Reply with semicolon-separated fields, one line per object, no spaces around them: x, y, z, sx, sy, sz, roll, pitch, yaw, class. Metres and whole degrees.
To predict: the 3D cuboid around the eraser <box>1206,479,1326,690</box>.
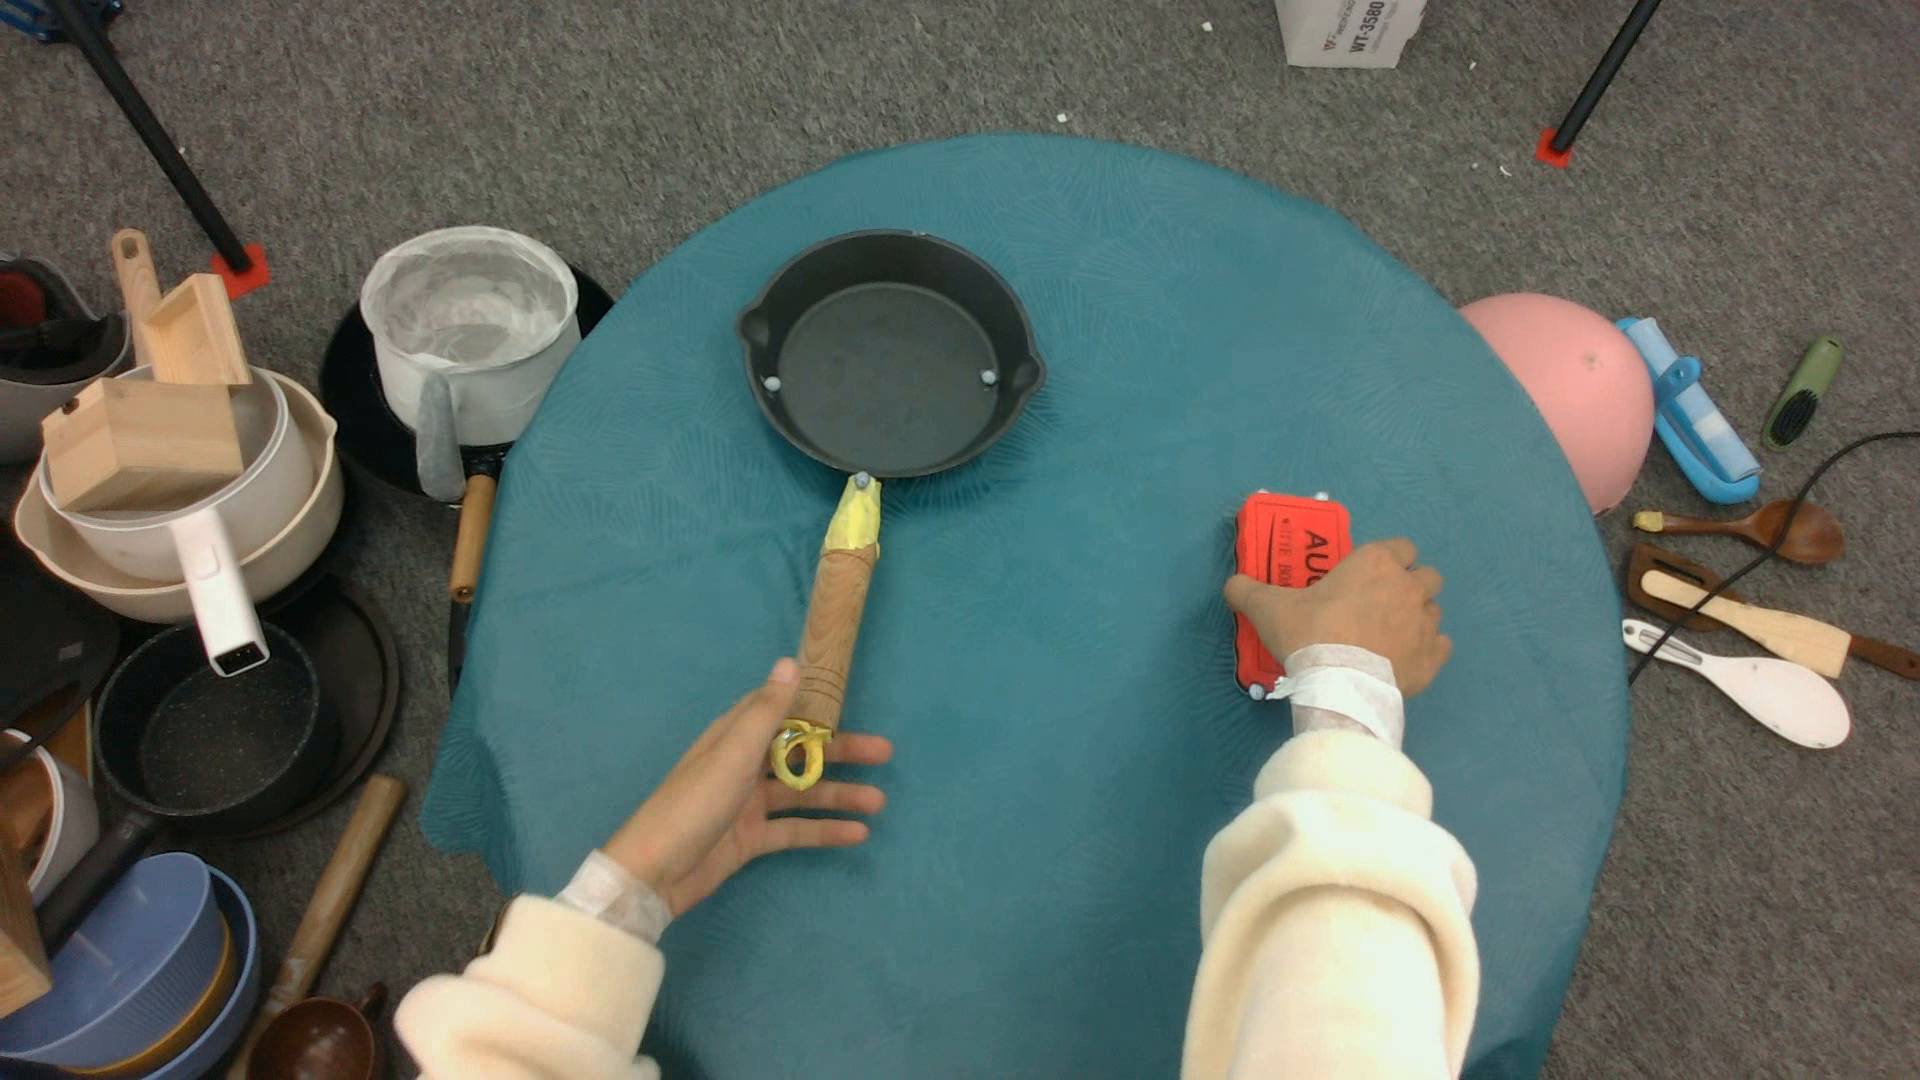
0.160;0.023;0.722;0.059;0.023;0.108;8;64;-5;eraser

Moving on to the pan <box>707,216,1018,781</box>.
-0.066;-0.031;0.707;0.169;0.049;0.325;11;63;-2;pan
